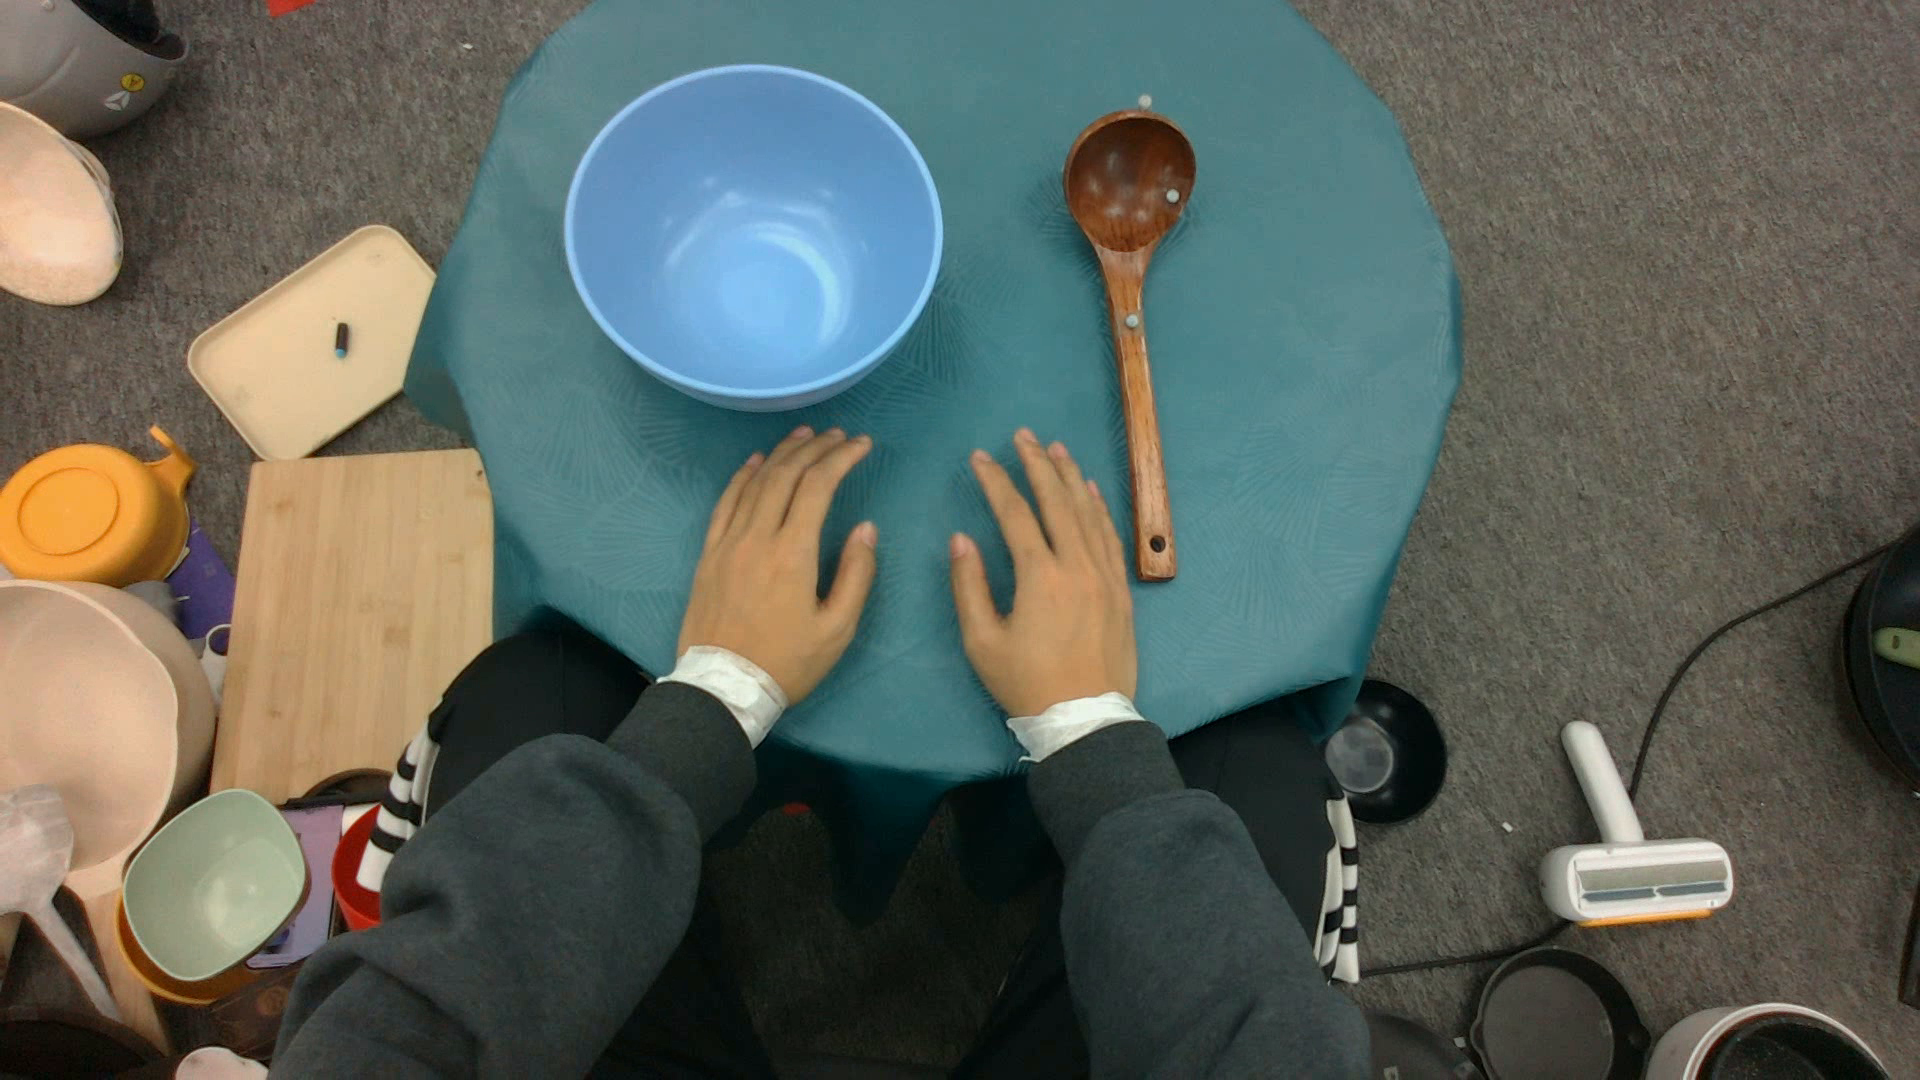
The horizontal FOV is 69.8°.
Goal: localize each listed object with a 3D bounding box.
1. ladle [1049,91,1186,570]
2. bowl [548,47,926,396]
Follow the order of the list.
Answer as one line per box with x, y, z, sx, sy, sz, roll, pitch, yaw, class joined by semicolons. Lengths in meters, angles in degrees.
0.097;-0.124;0.783;0.082;0.076;0.275;0;72;-9;ladle
-0.120;-0.161;0.766;0.196;0.095;0.197;2;74;-6;bowl
